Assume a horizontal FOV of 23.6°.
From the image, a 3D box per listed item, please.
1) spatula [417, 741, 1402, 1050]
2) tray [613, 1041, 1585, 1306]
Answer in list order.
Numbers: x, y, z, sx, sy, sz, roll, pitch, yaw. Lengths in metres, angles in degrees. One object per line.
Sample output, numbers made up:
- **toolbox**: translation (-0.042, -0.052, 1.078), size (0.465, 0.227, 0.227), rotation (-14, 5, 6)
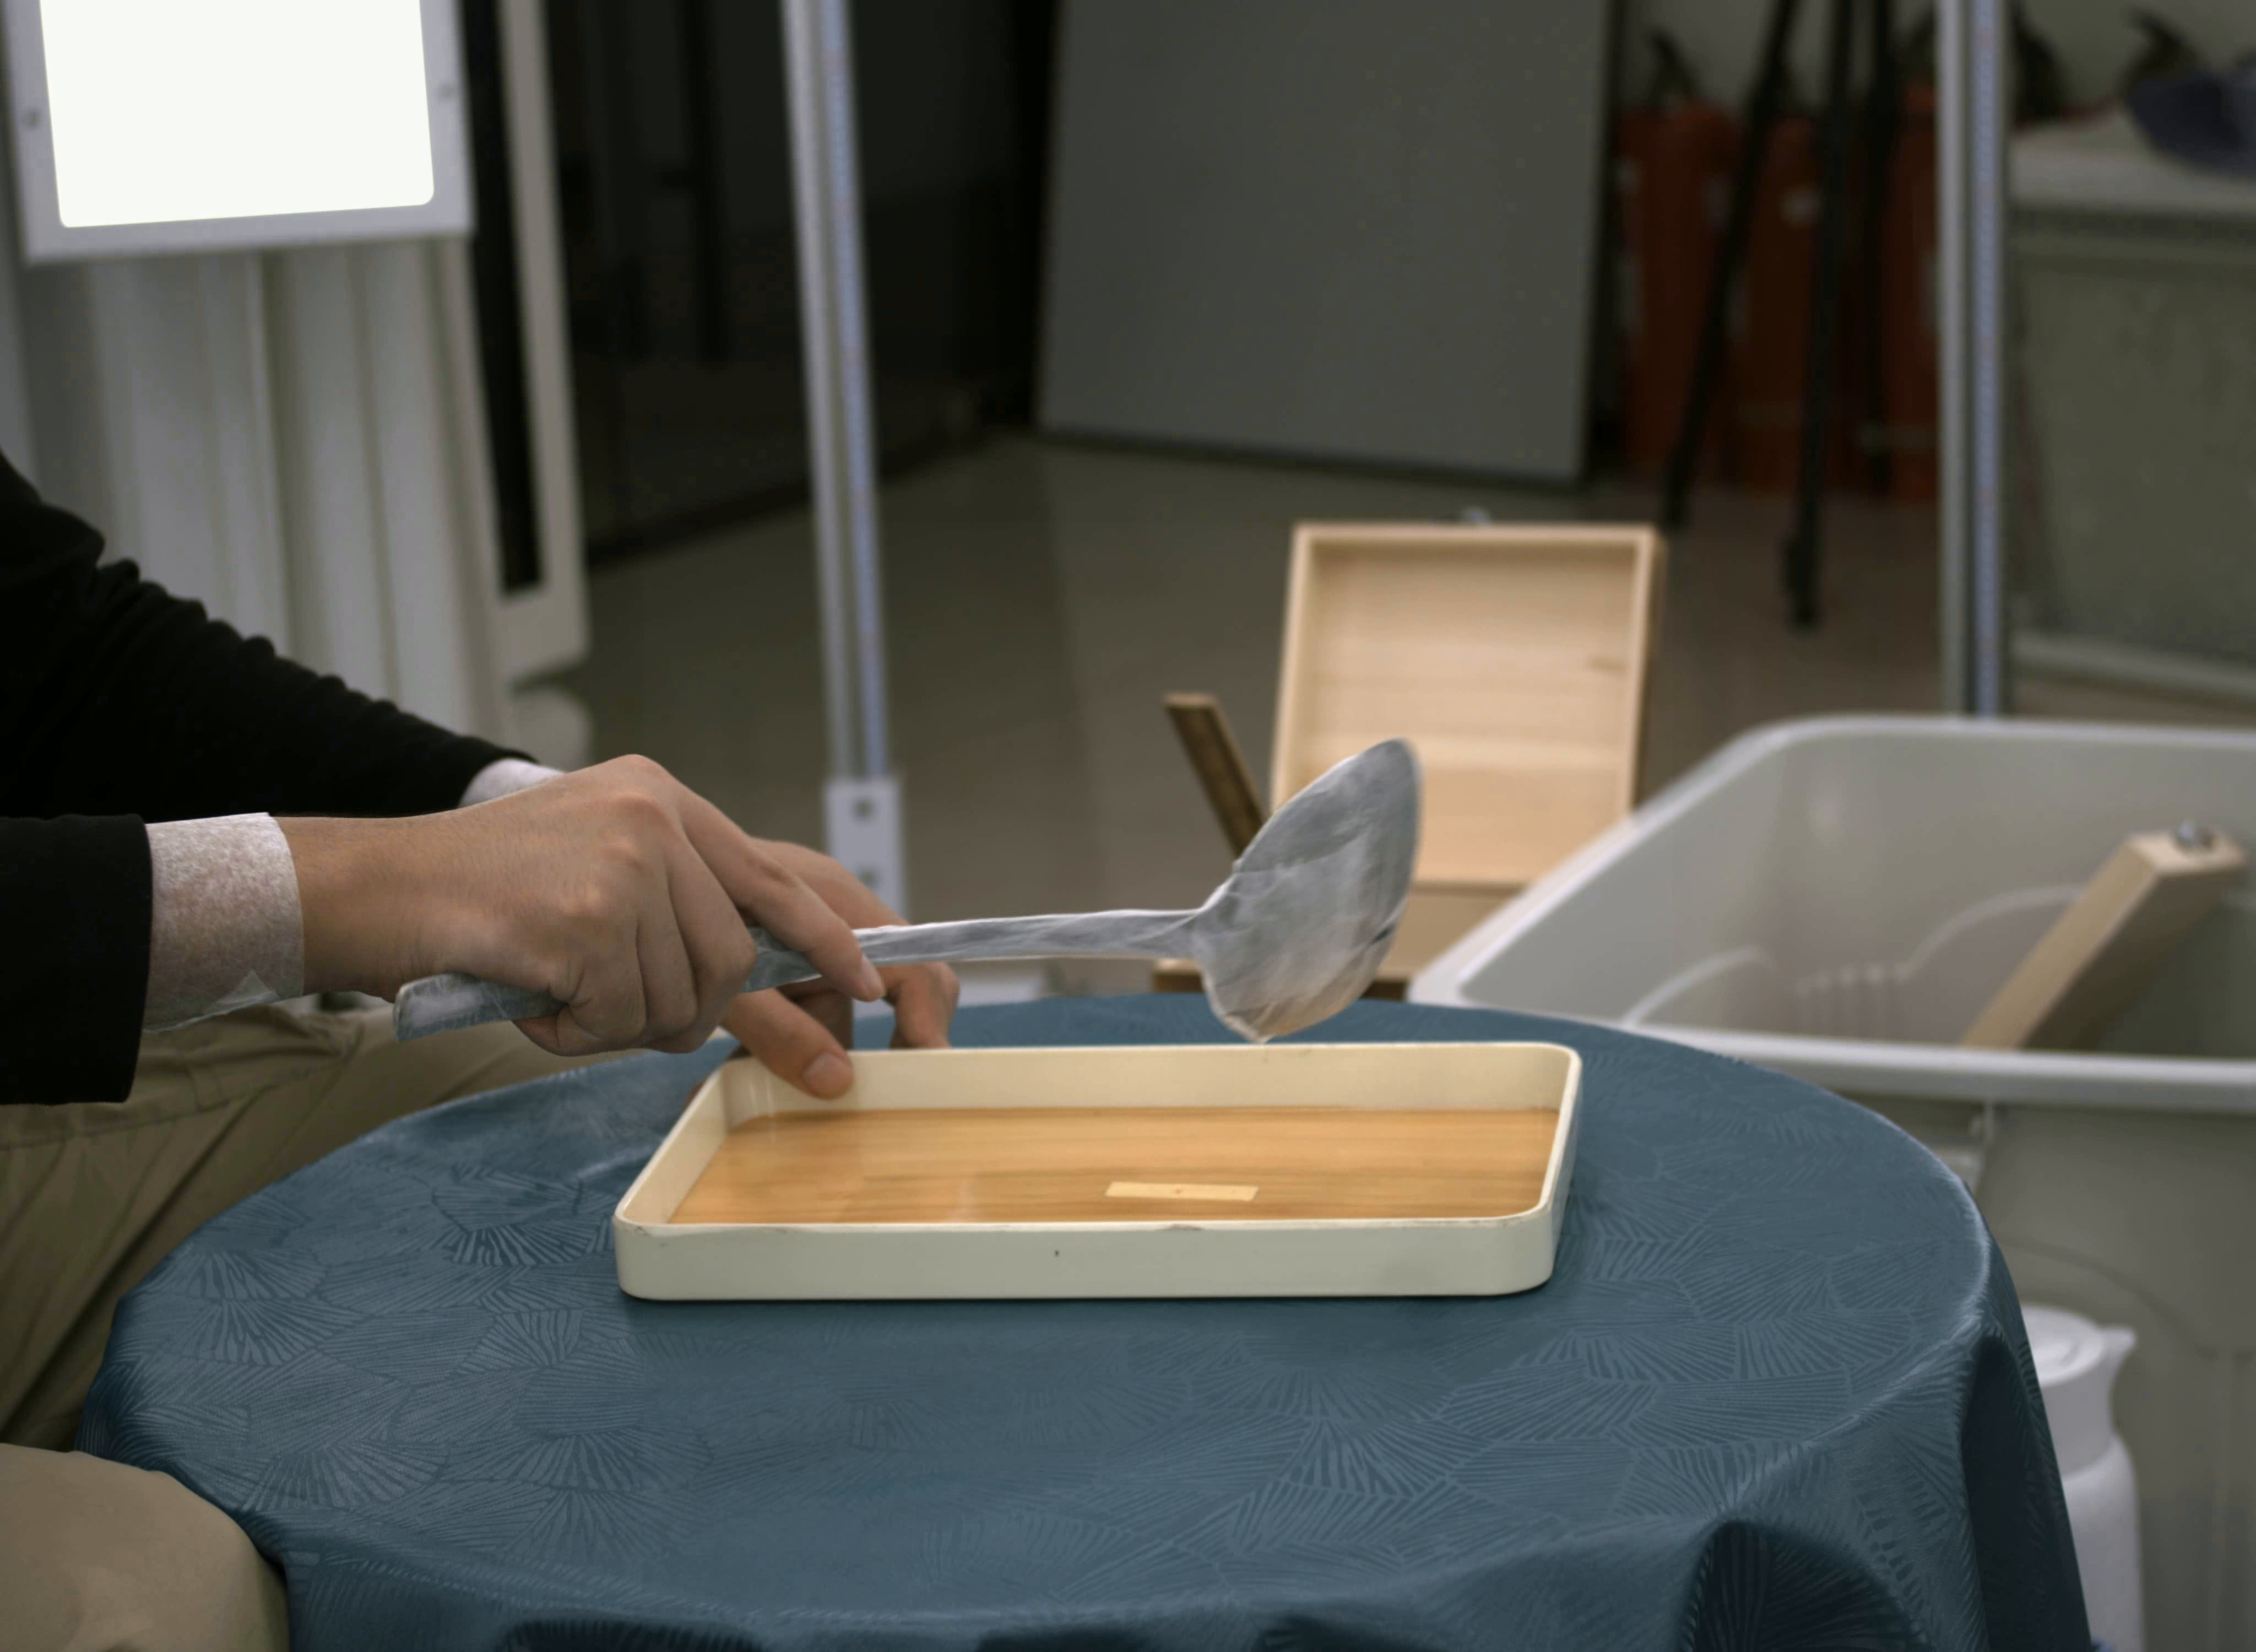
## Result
- **spatula**: translation (-0.057, 0.034, 1.636), size (0.356, 0.100, 0.045), rotation (-4, 24, -30)
- **tray**: translation (-0.004, 0.112, 1.752), size (0.298, 0.028, 0.191), rotation (-2, 14, 11)
